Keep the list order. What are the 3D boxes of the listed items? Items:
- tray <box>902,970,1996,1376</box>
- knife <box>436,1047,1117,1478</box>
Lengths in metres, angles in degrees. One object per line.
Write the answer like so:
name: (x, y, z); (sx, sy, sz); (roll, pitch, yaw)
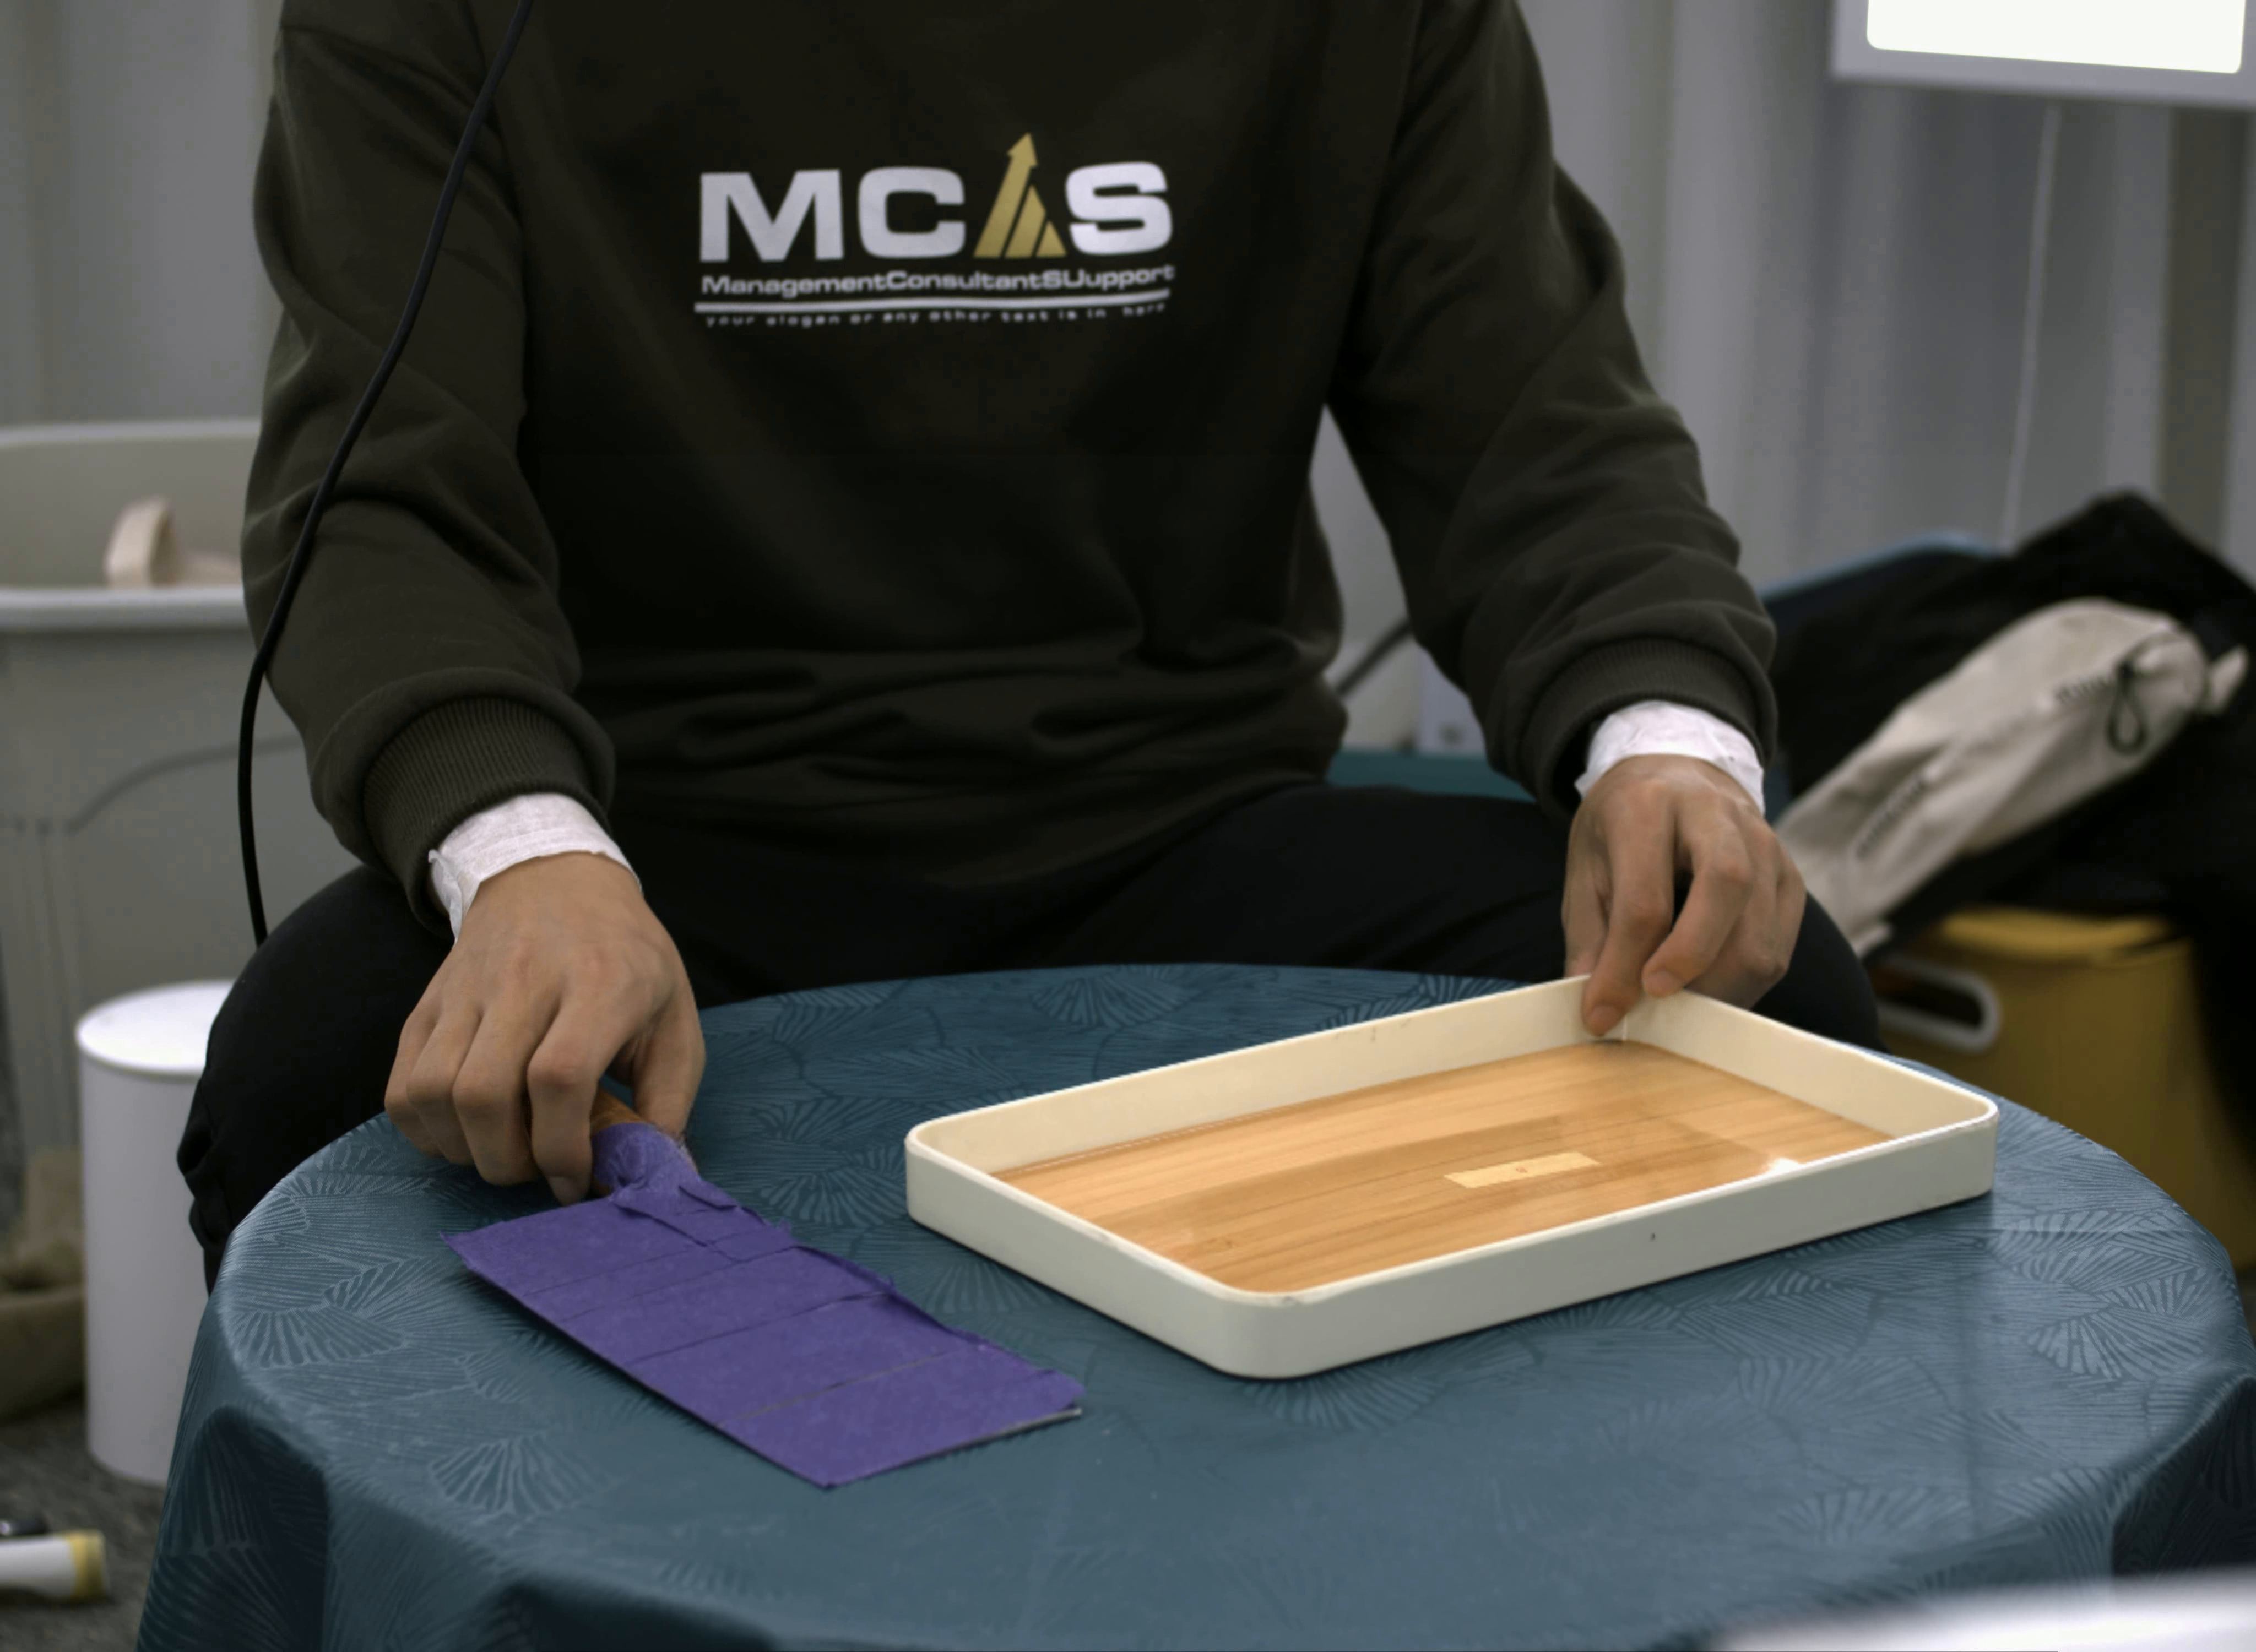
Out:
tray: (0.100, 0.102, 1.616); (0.302, 0.027, 0.189); (-11, 19, -35)
knife: (-0.136, 0.123, 1.530); (0.104, 0.032, 0.311); (-11, 20, -36)
